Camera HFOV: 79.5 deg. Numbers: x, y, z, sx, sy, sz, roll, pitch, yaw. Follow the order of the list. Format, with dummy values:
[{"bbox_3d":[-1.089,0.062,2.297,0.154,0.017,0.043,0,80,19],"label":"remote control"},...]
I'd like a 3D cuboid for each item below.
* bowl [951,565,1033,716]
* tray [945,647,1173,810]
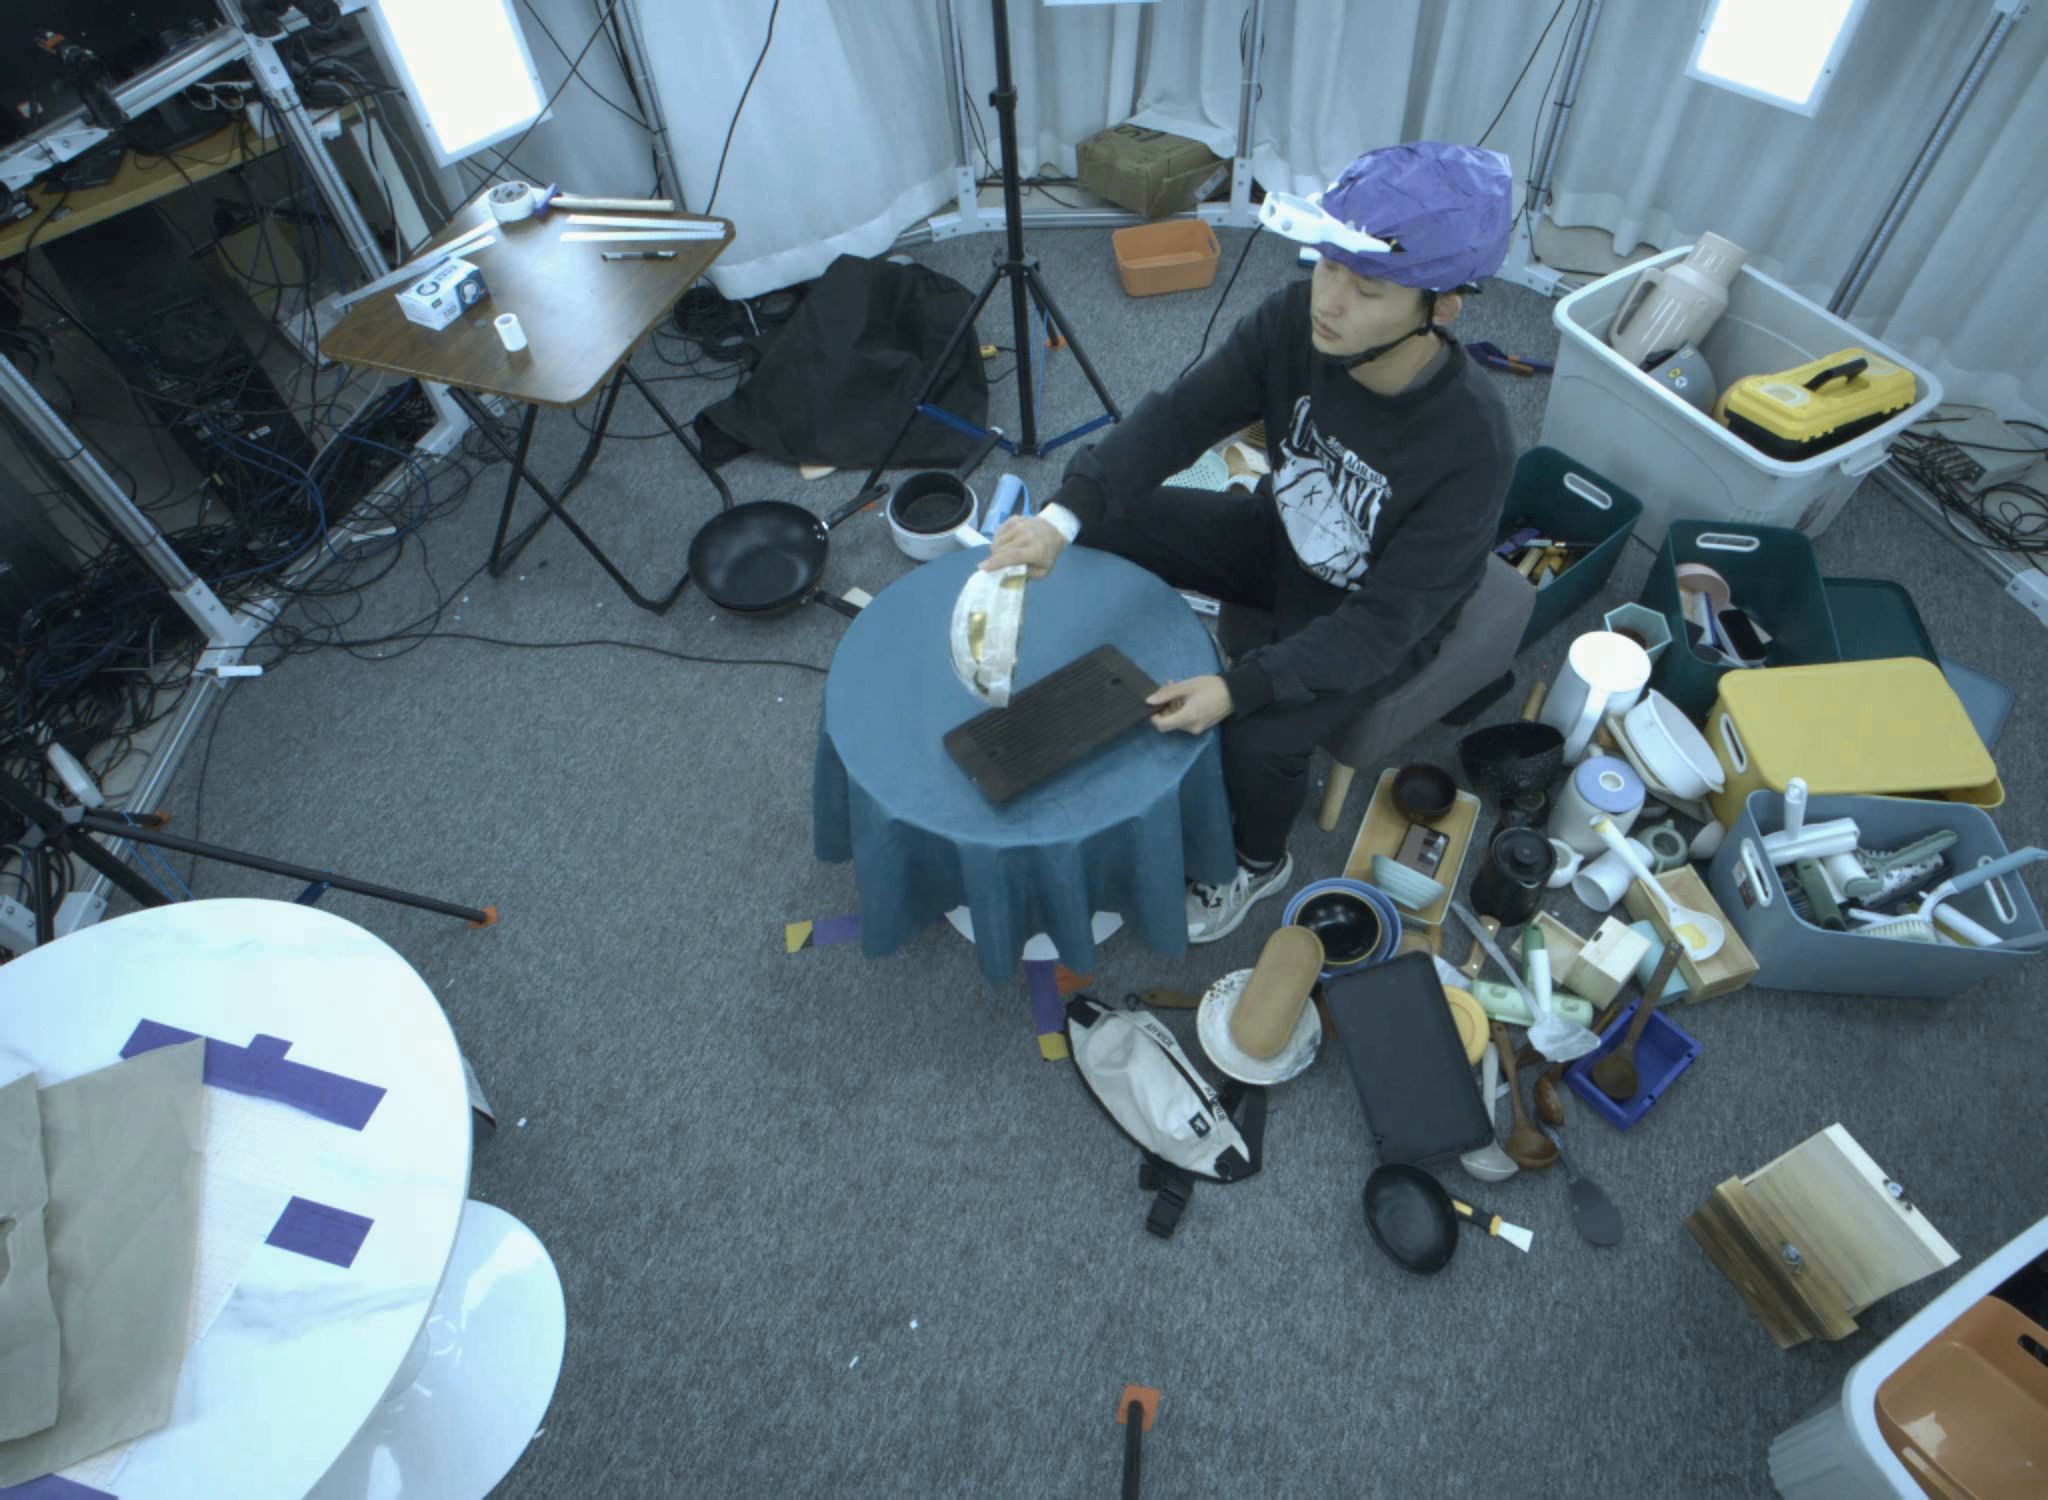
[{"bbox_3d":[-0.048,-0.154,1.661,0.094,0.216,0.213,8,56,1],"label":"bowl"},{"bbox_3d":[0.051,-0.034,1.788,0.308,0.019,0.166,-30,50,-16],"label":"tray"}]
